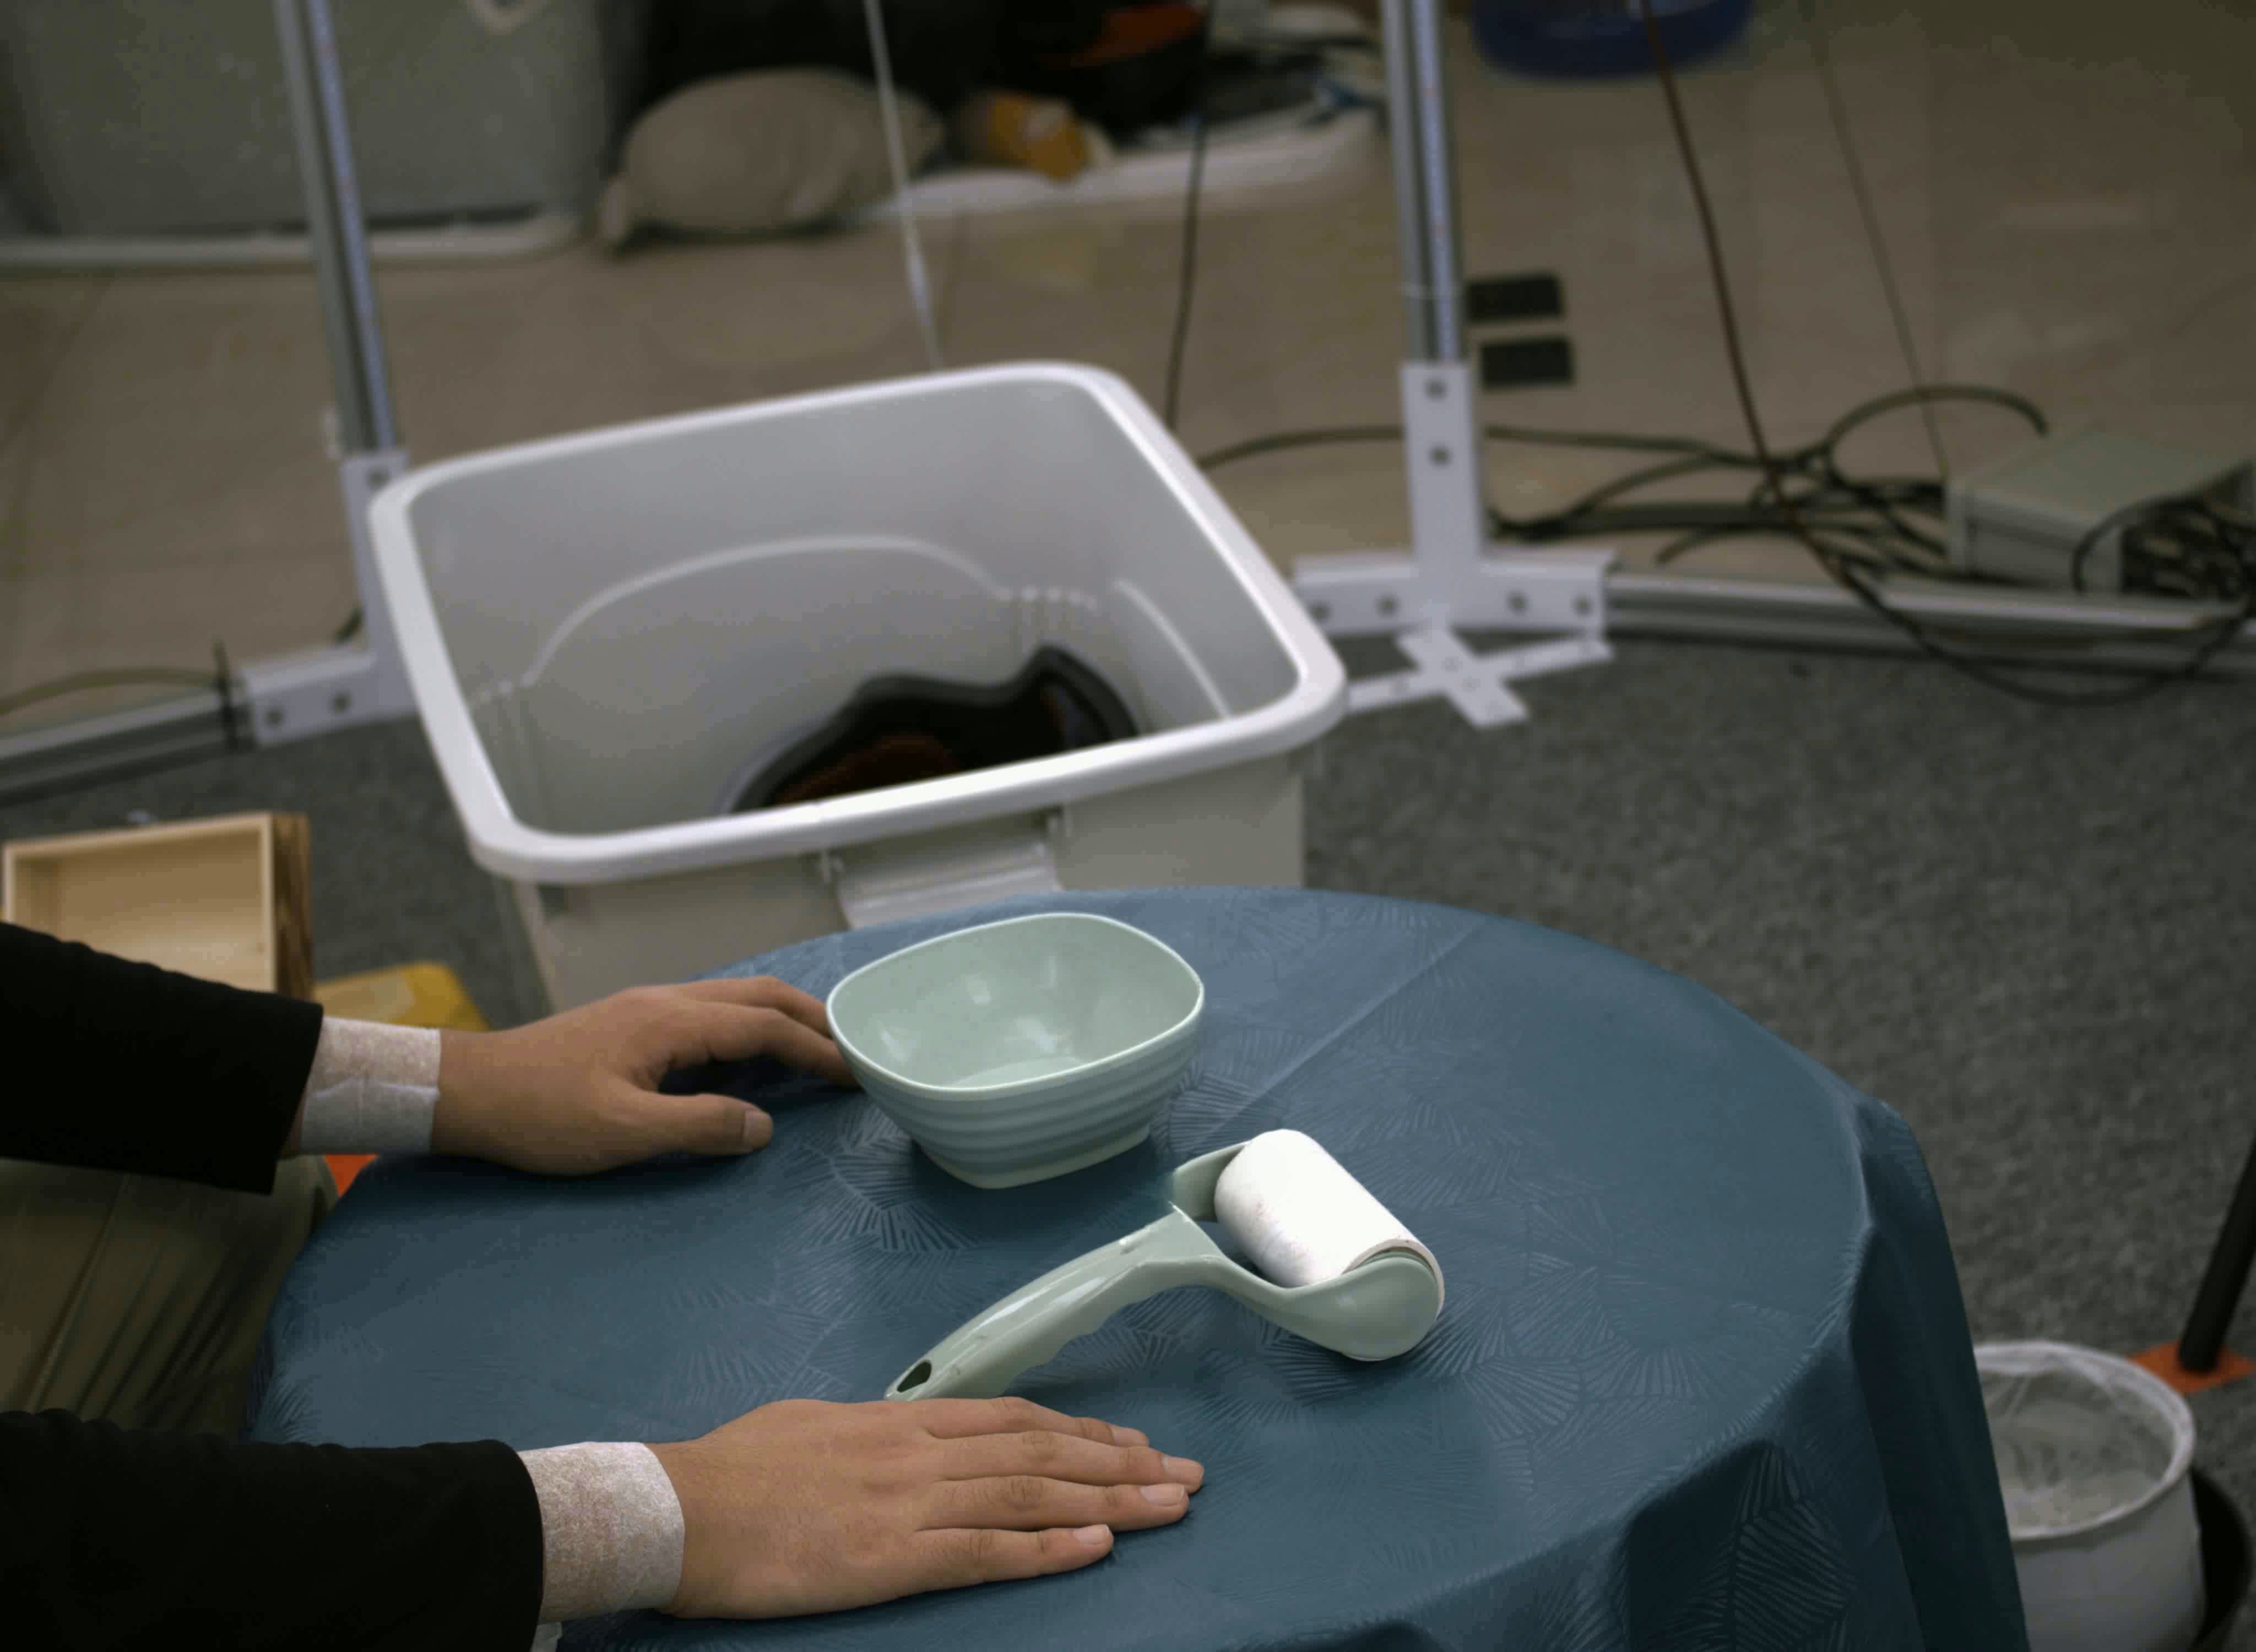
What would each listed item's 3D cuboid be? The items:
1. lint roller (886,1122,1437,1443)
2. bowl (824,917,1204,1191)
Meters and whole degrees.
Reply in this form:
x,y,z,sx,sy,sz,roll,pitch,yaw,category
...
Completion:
x,y,z,sx,sy,sz,roll,pitch,yaw,category
0.002,0.168,2.033,0.197,0.049,0.115,-16,28,-18,lint roller
-0.042,0.093,2.190,0.151,0.059,0.149,-4,25,2,bowl
